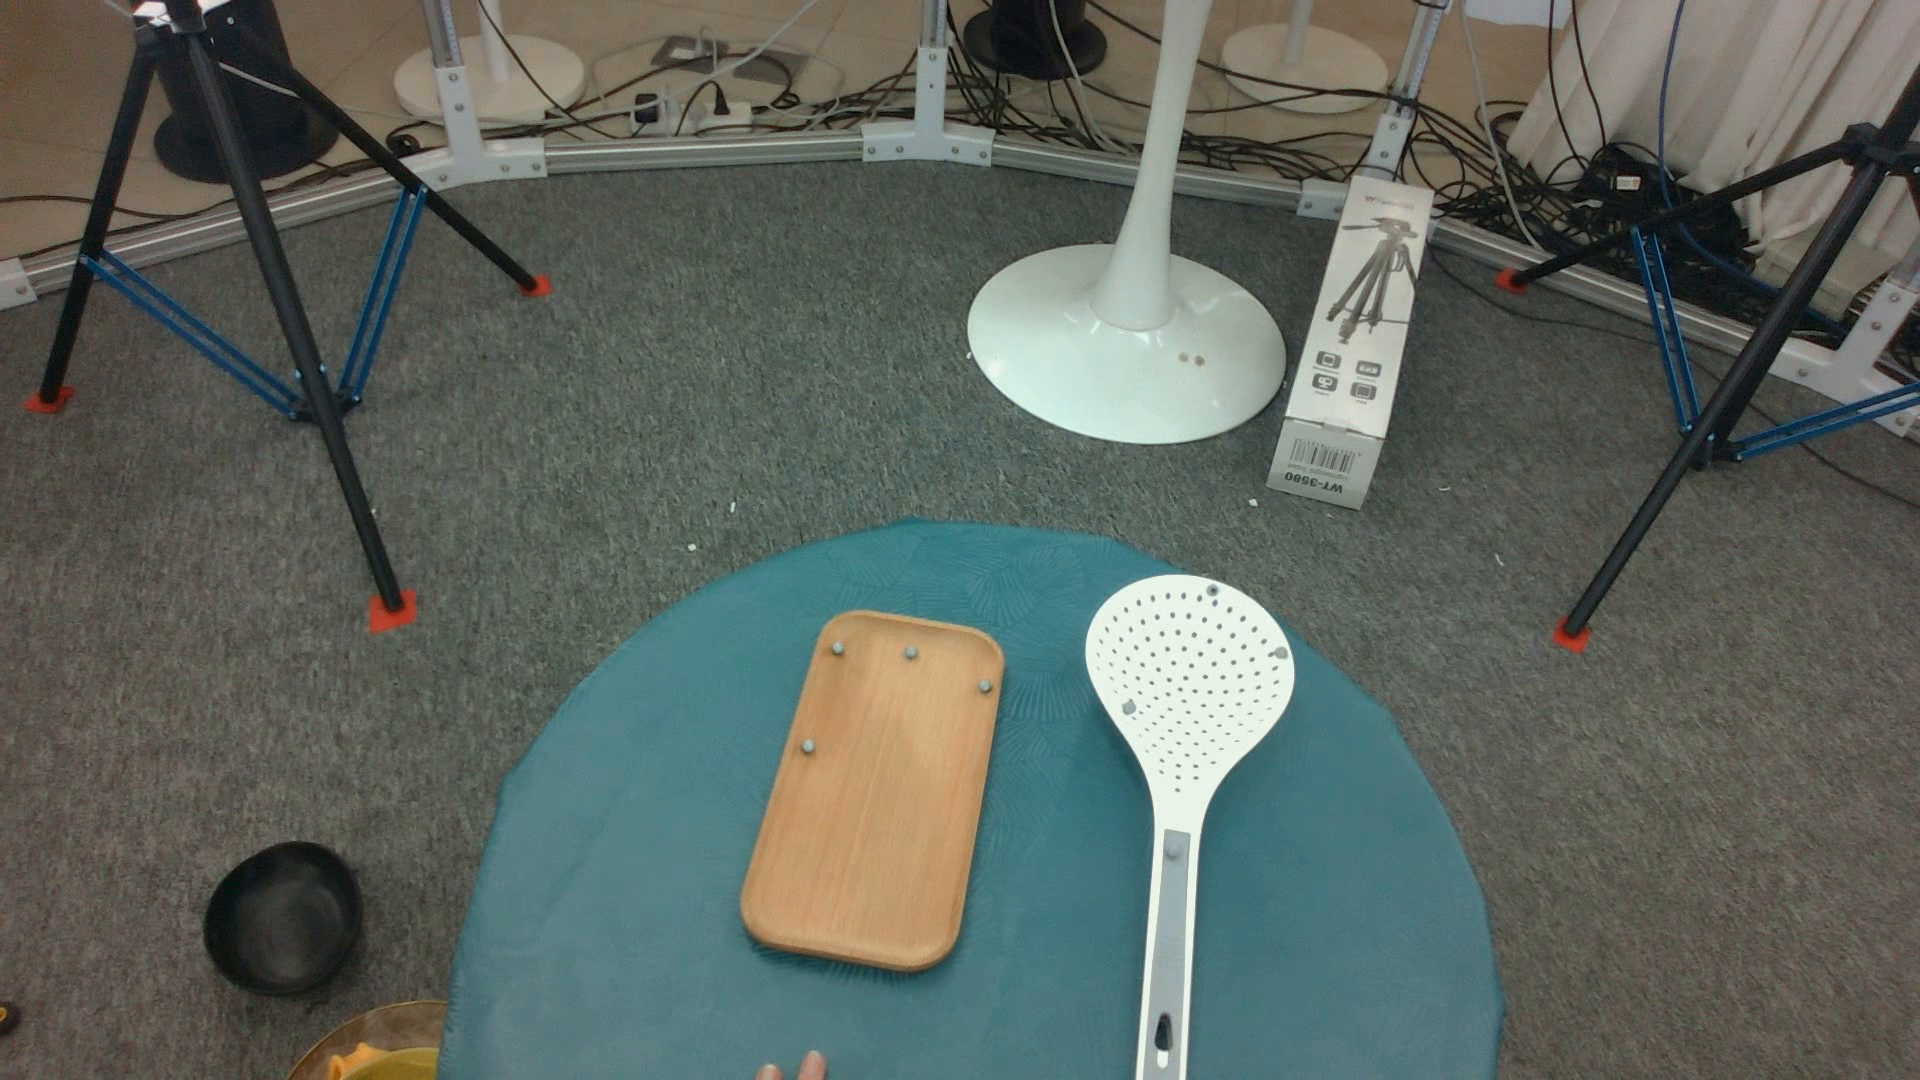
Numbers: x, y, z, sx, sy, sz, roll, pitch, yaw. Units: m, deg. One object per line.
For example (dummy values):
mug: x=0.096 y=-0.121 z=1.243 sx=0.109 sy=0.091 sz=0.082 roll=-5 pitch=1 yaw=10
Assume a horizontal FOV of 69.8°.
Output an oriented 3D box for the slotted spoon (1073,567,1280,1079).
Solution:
slotted spoon: x=0.123 y=0.159 z=0.839 sx=0.136 sy=0.045 sz=0.351 roll=8 pitch=47 yaw=5

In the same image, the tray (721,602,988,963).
tray: x=-0.058 y=0.141 z=0.854 sx=0.130 sy=0.023 sz=0.252 roll=9 pitch=47 yaw=4
